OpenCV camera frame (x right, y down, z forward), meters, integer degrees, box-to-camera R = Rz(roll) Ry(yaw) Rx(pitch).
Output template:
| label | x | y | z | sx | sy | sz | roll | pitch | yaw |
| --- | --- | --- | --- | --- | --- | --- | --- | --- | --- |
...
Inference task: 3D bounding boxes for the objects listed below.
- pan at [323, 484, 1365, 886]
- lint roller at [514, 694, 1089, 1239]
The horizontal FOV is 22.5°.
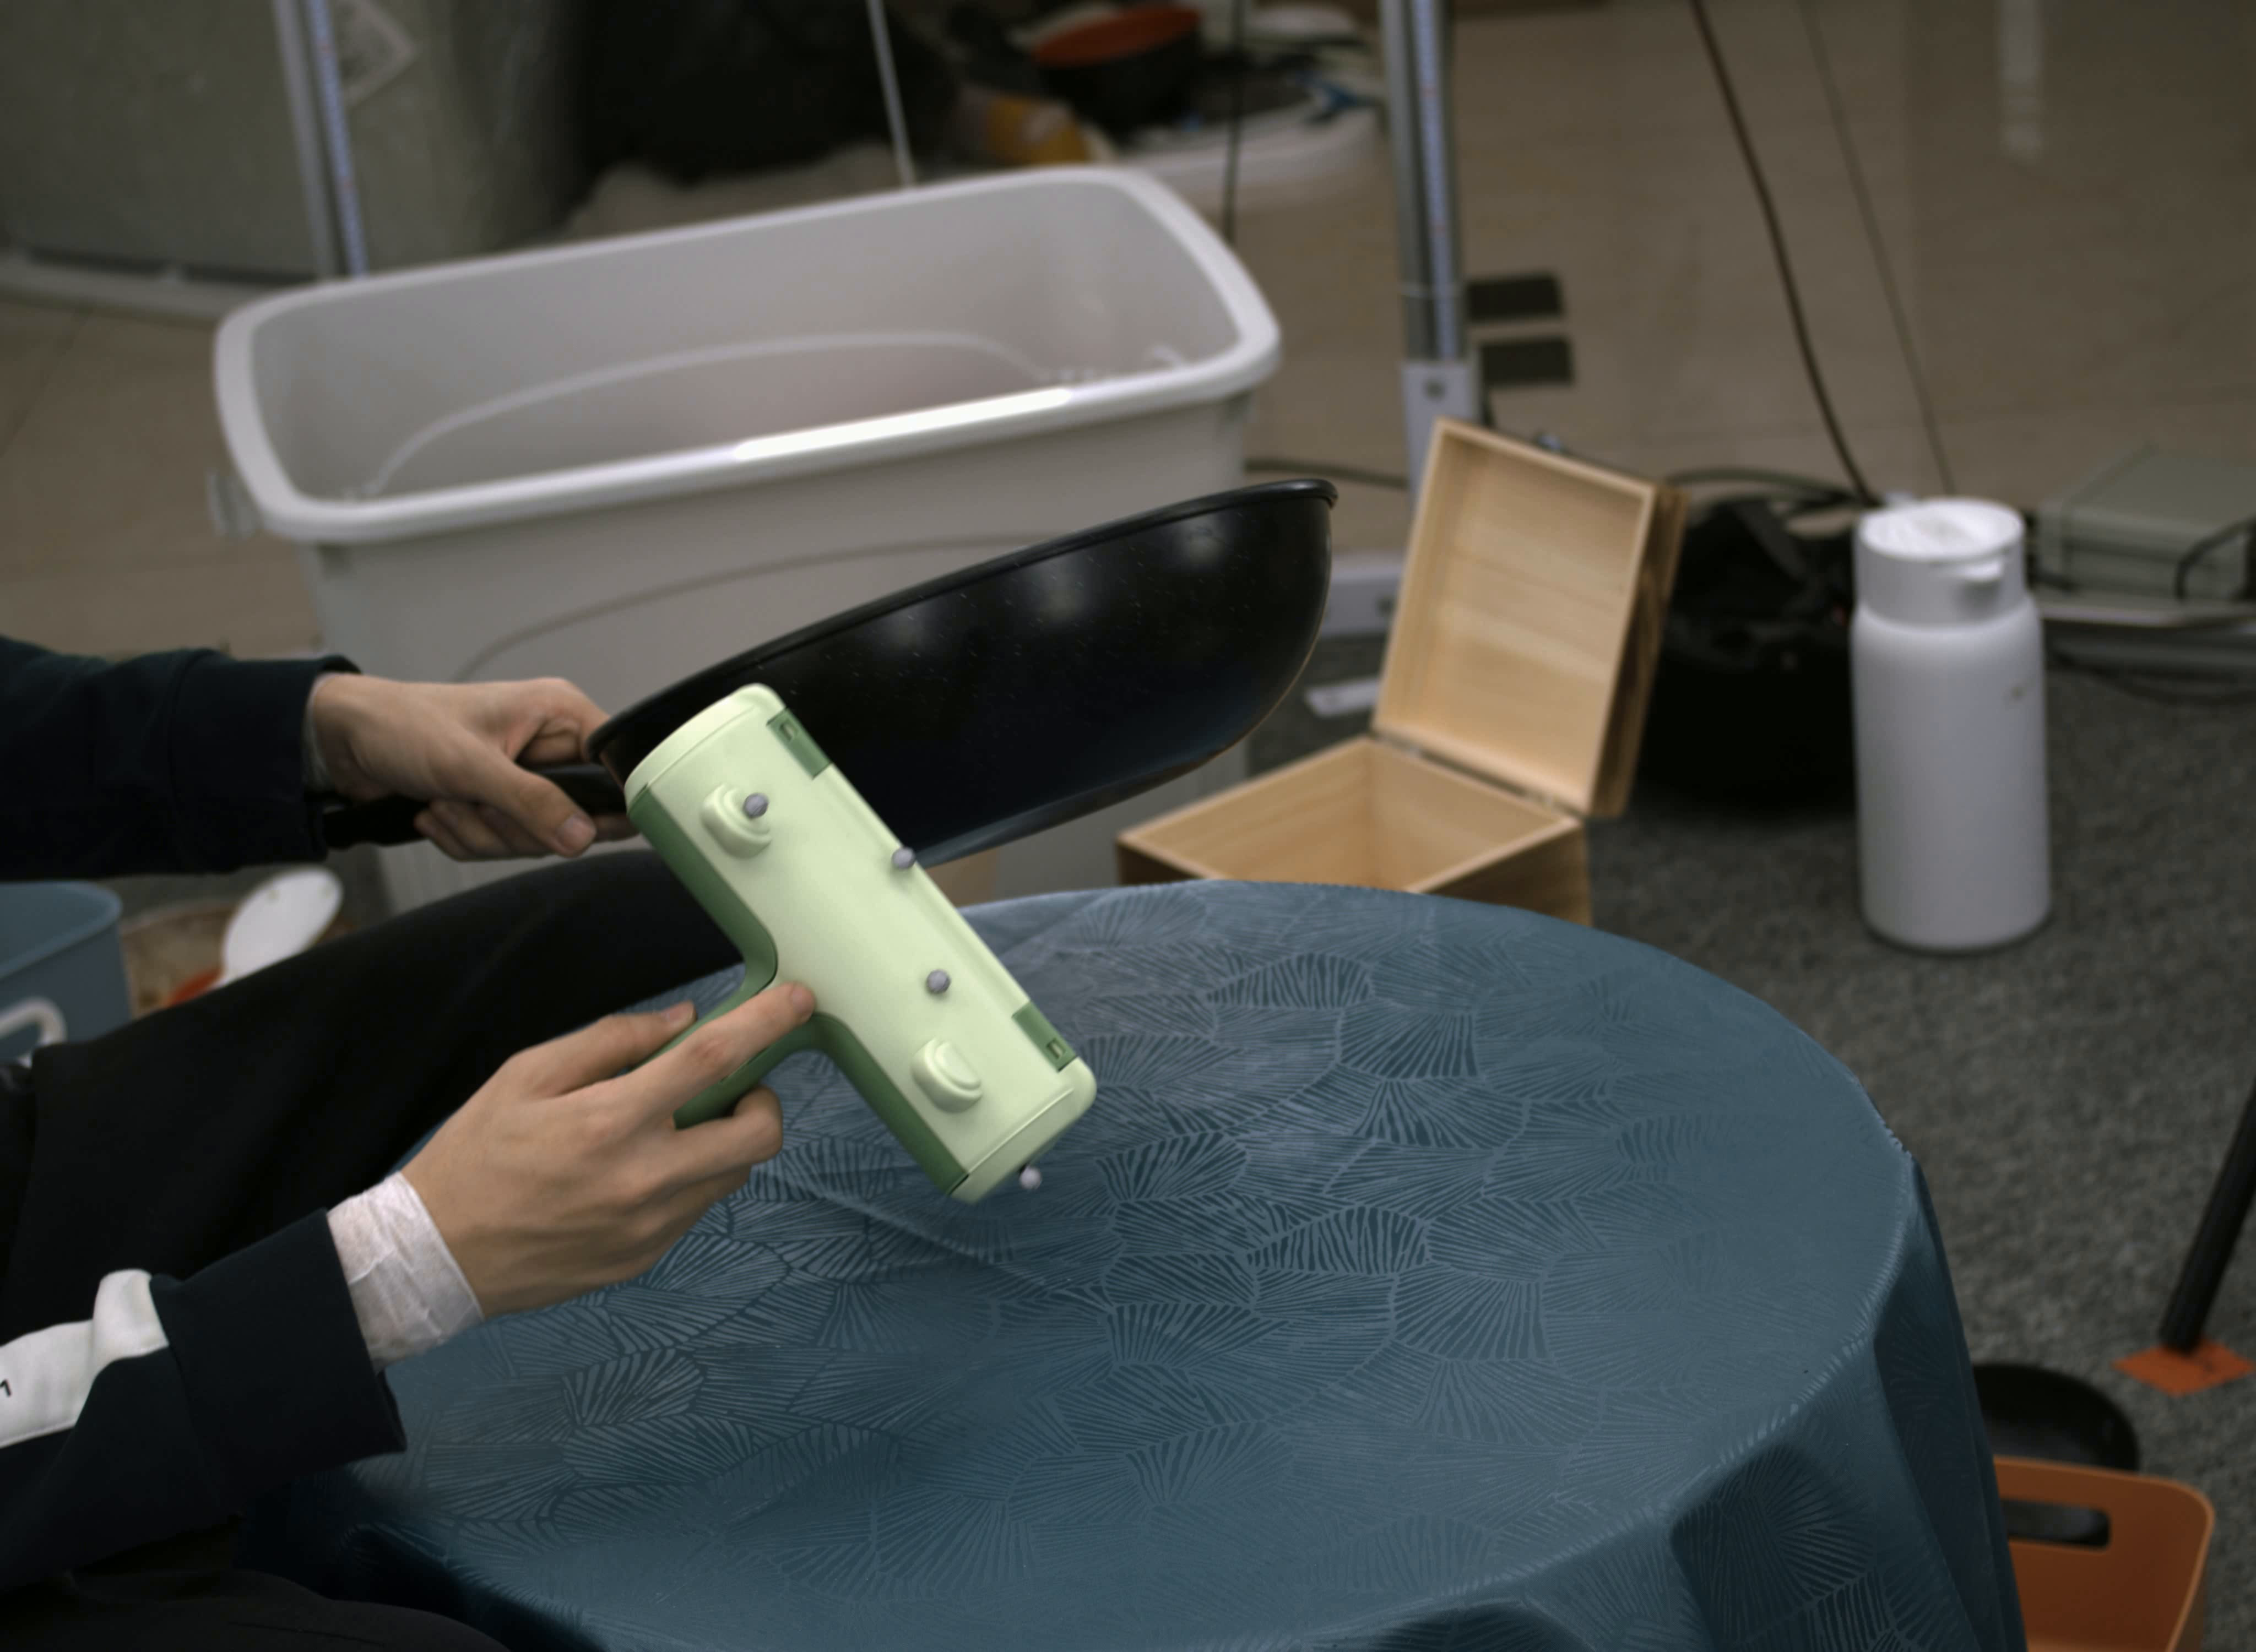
| label | x | y | z | sx | sy | sz | roll | pitch | yaw |
| --- | --- | --- | --- | --- | --- | --- | --- | --- | --- |
| pan | -0.116 | -0.025 | 2.224 | 0.478 | 0.111 | 0.309 | -20 | -5 | 28 |
| lint roller | -0.141 | 0.079 | 1.983 | 0.182 | 0.198 | 0.083 | -39 | -4 | -11 |
